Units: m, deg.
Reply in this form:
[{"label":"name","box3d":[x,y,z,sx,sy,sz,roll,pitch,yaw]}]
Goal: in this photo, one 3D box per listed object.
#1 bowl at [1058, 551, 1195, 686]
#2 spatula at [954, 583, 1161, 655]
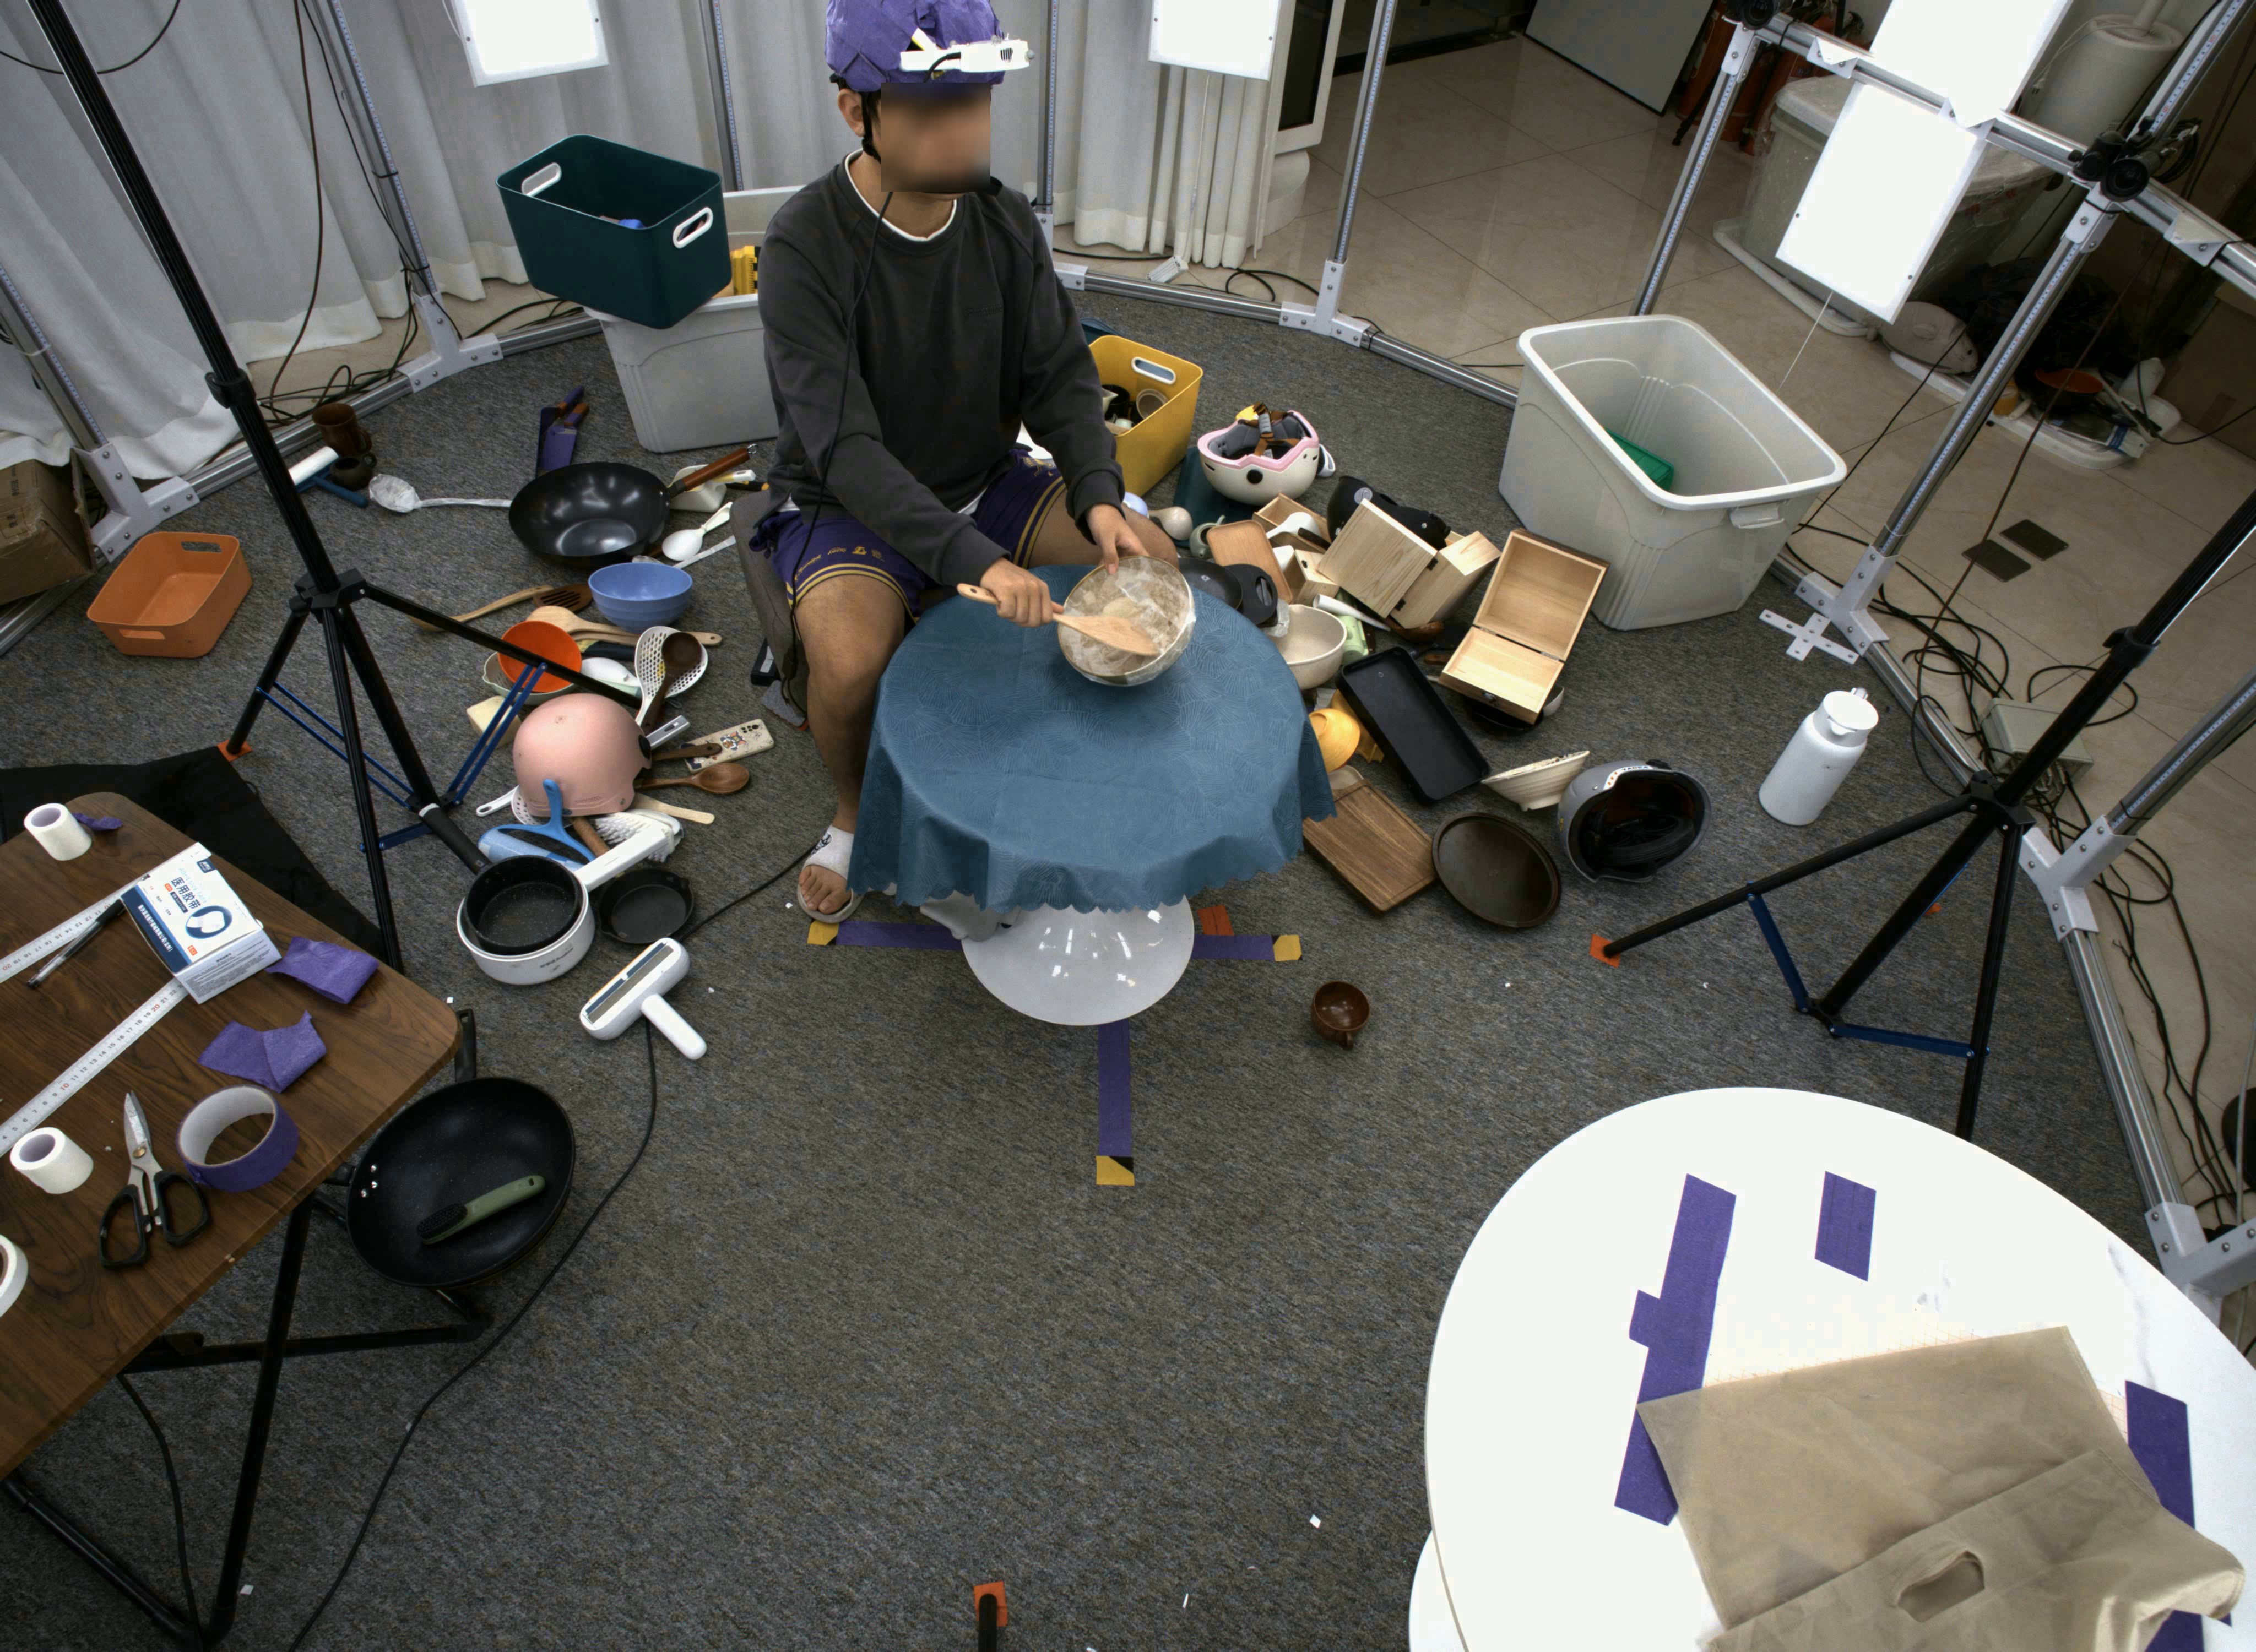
[{"label":"bowl","box3d":[0.007,-0.282,1.836,0.214,0.092,0.219,-10,61,19]},{"label":"spatula","box3d":[-0.094,-0.291,1.766,0.324,0.016,0.082,10,42,-37]}]
